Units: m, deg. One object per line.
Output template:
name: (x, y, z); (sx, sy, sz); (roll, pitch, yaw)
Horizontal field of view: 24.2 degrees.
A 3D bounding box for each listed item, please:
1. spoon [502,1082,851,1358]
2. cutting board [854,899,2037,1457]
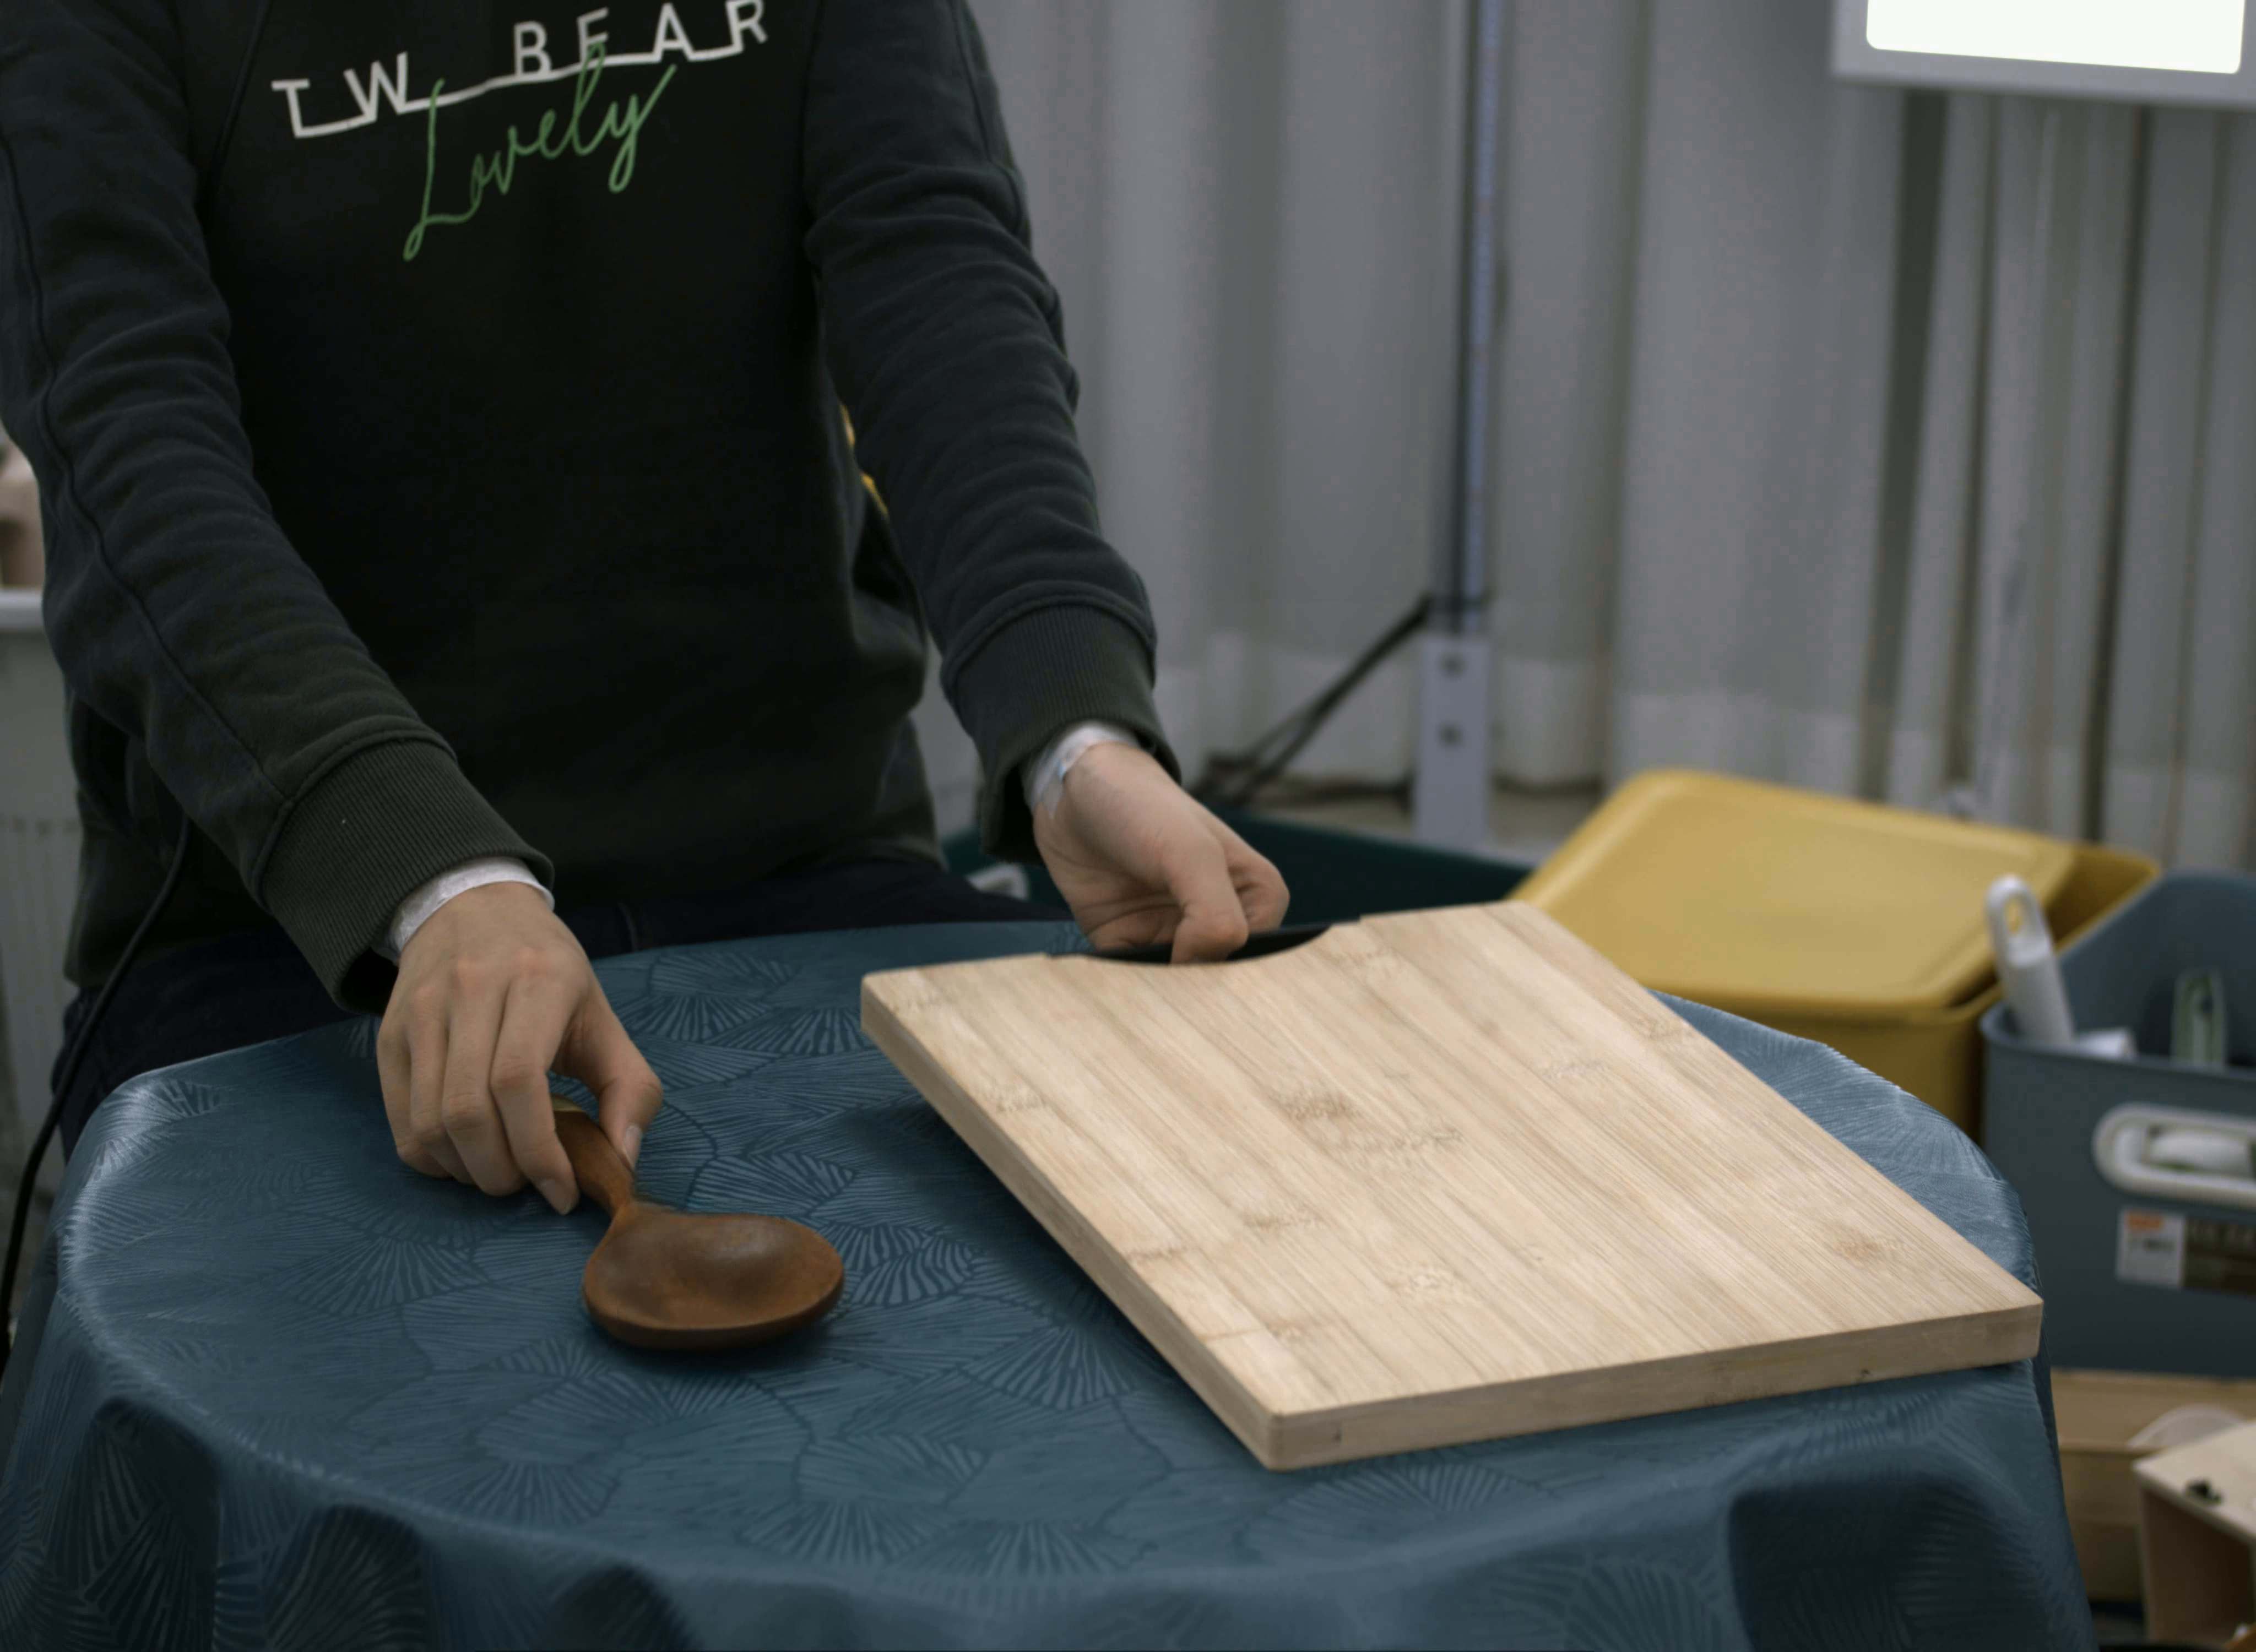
spoon: (-0.143, 0.116, 1.565); (0.075, 0.017, 0.213); (-14, 22, -21)
cutting board: (0.085, 0.099, 1.603); (0.251, 0.024, 0.344); (-5, 21, -23)
